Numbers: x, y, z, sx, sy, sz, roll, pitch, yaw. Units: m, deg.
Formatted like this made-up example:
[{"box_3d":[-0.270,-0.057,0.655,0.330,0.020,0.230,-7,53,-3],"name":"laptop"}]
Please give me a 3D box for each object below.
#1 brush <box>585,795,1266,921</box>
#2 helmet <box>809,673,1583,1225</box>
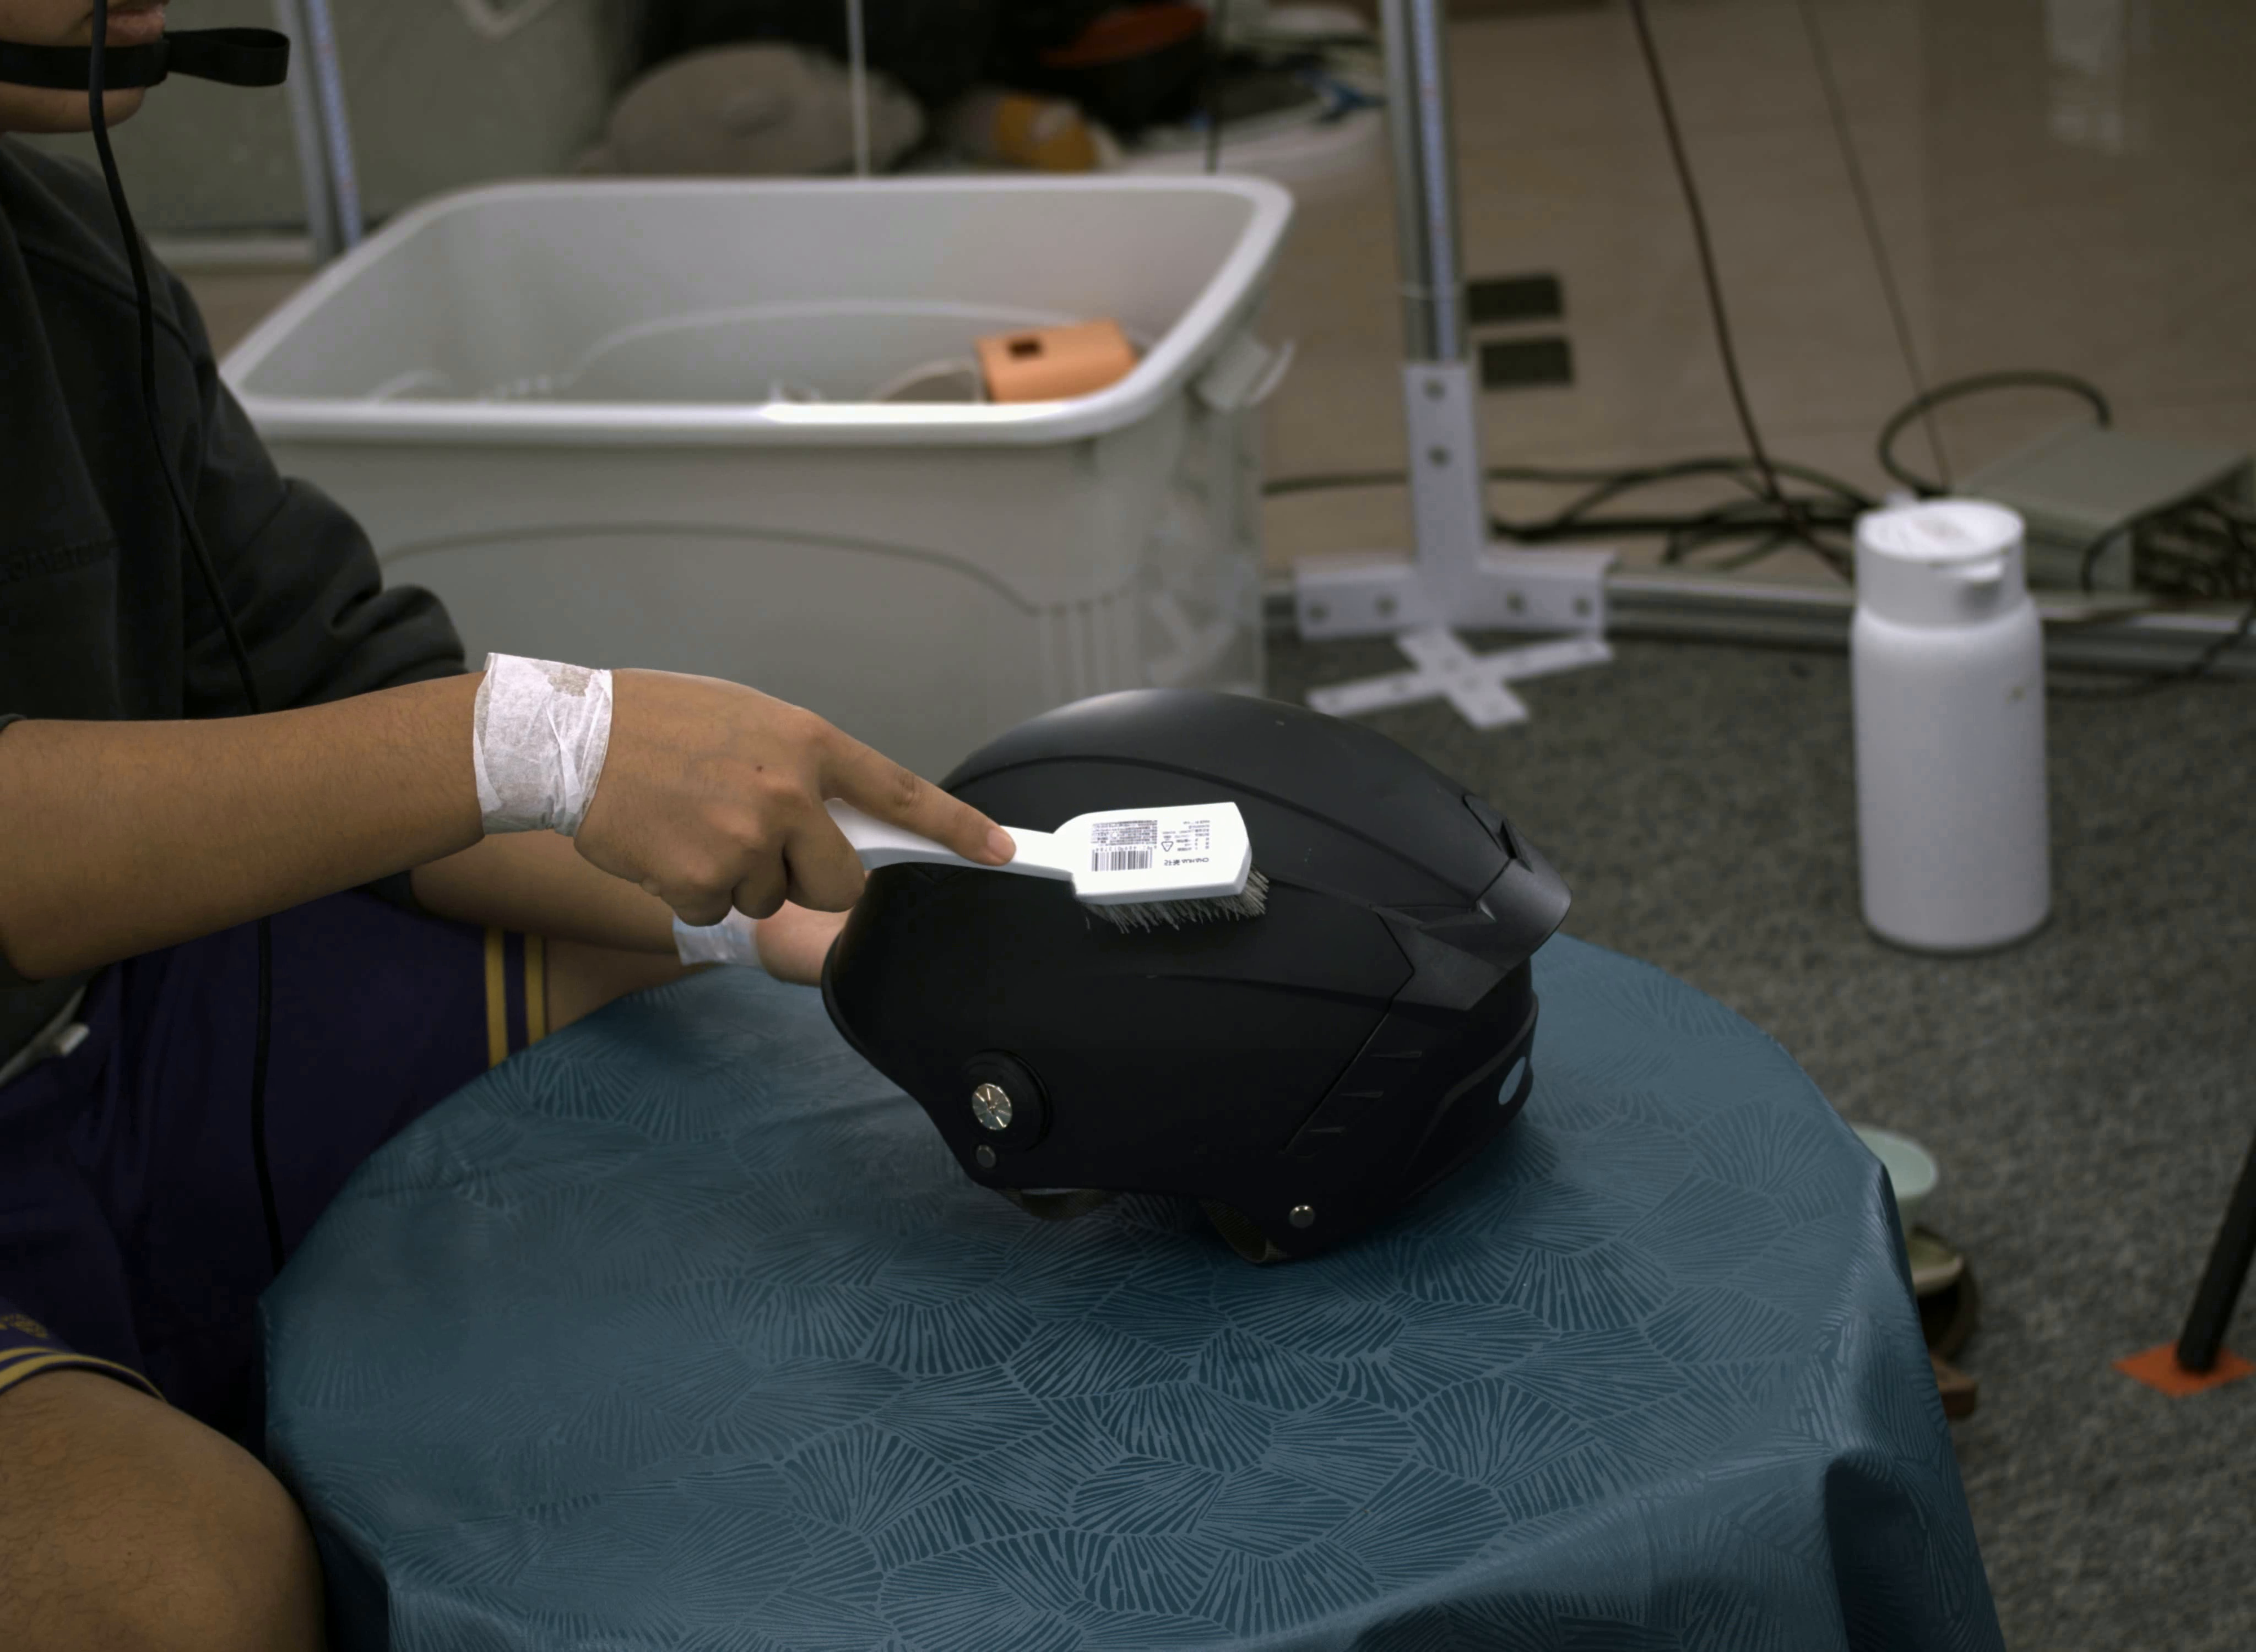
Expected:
[{"box_3d":[-0.071,0.011,2.018,0.243,0.051,0.034,0,67,-5],"name":"brush"},{"box_3d":[0.028,0.033,2.140,0.275,0.175,0.243,22,33,17],"name":"helmet"}]
